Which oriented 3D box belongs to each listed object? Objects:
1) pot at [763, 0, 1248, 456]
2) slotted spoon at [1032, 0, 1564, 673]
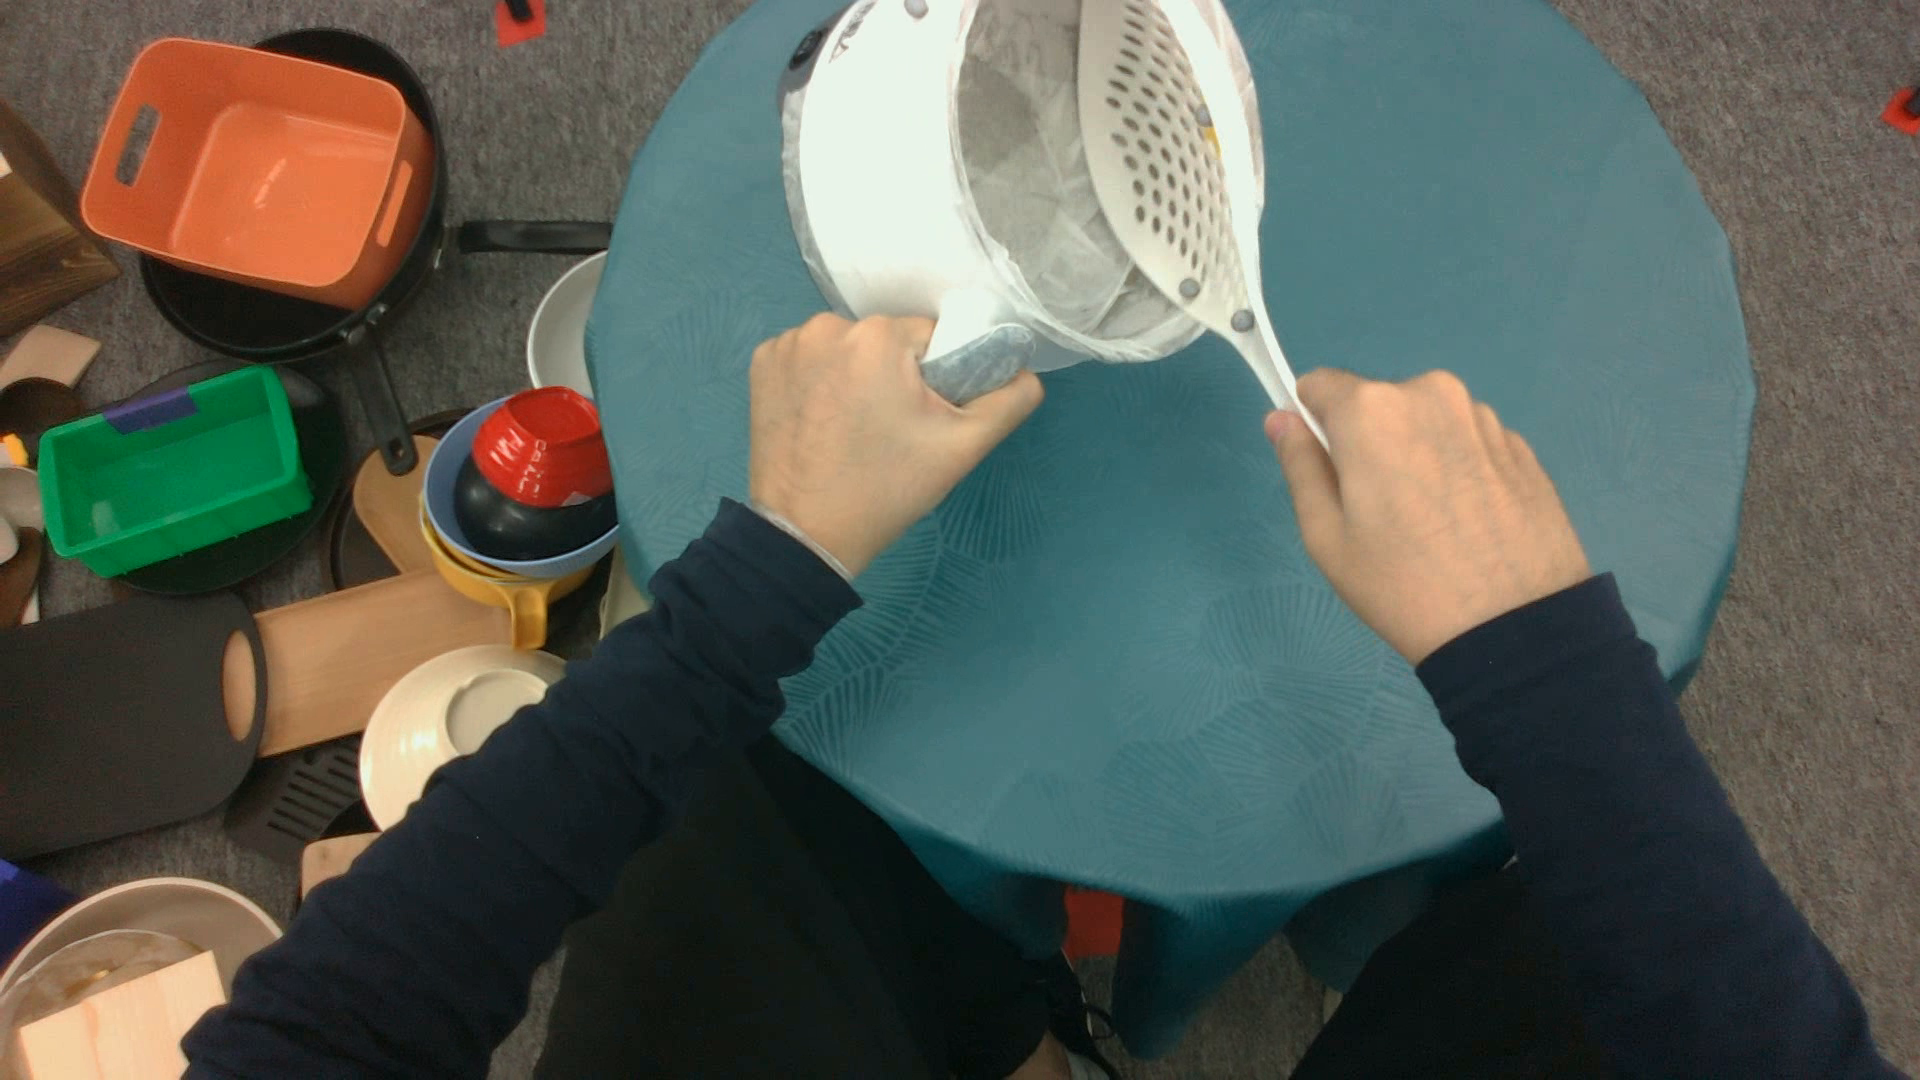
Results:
[{"bbox_3d":[0.007,-0.140,0.588,0.178,0.136,0.234,37,67,-32],"label":"pot"},{"bbox_3d":[0.113,-0.091,0.525,0.050,0.136,0.349,-13,59,-16],"label":"slotted spoon"}]
